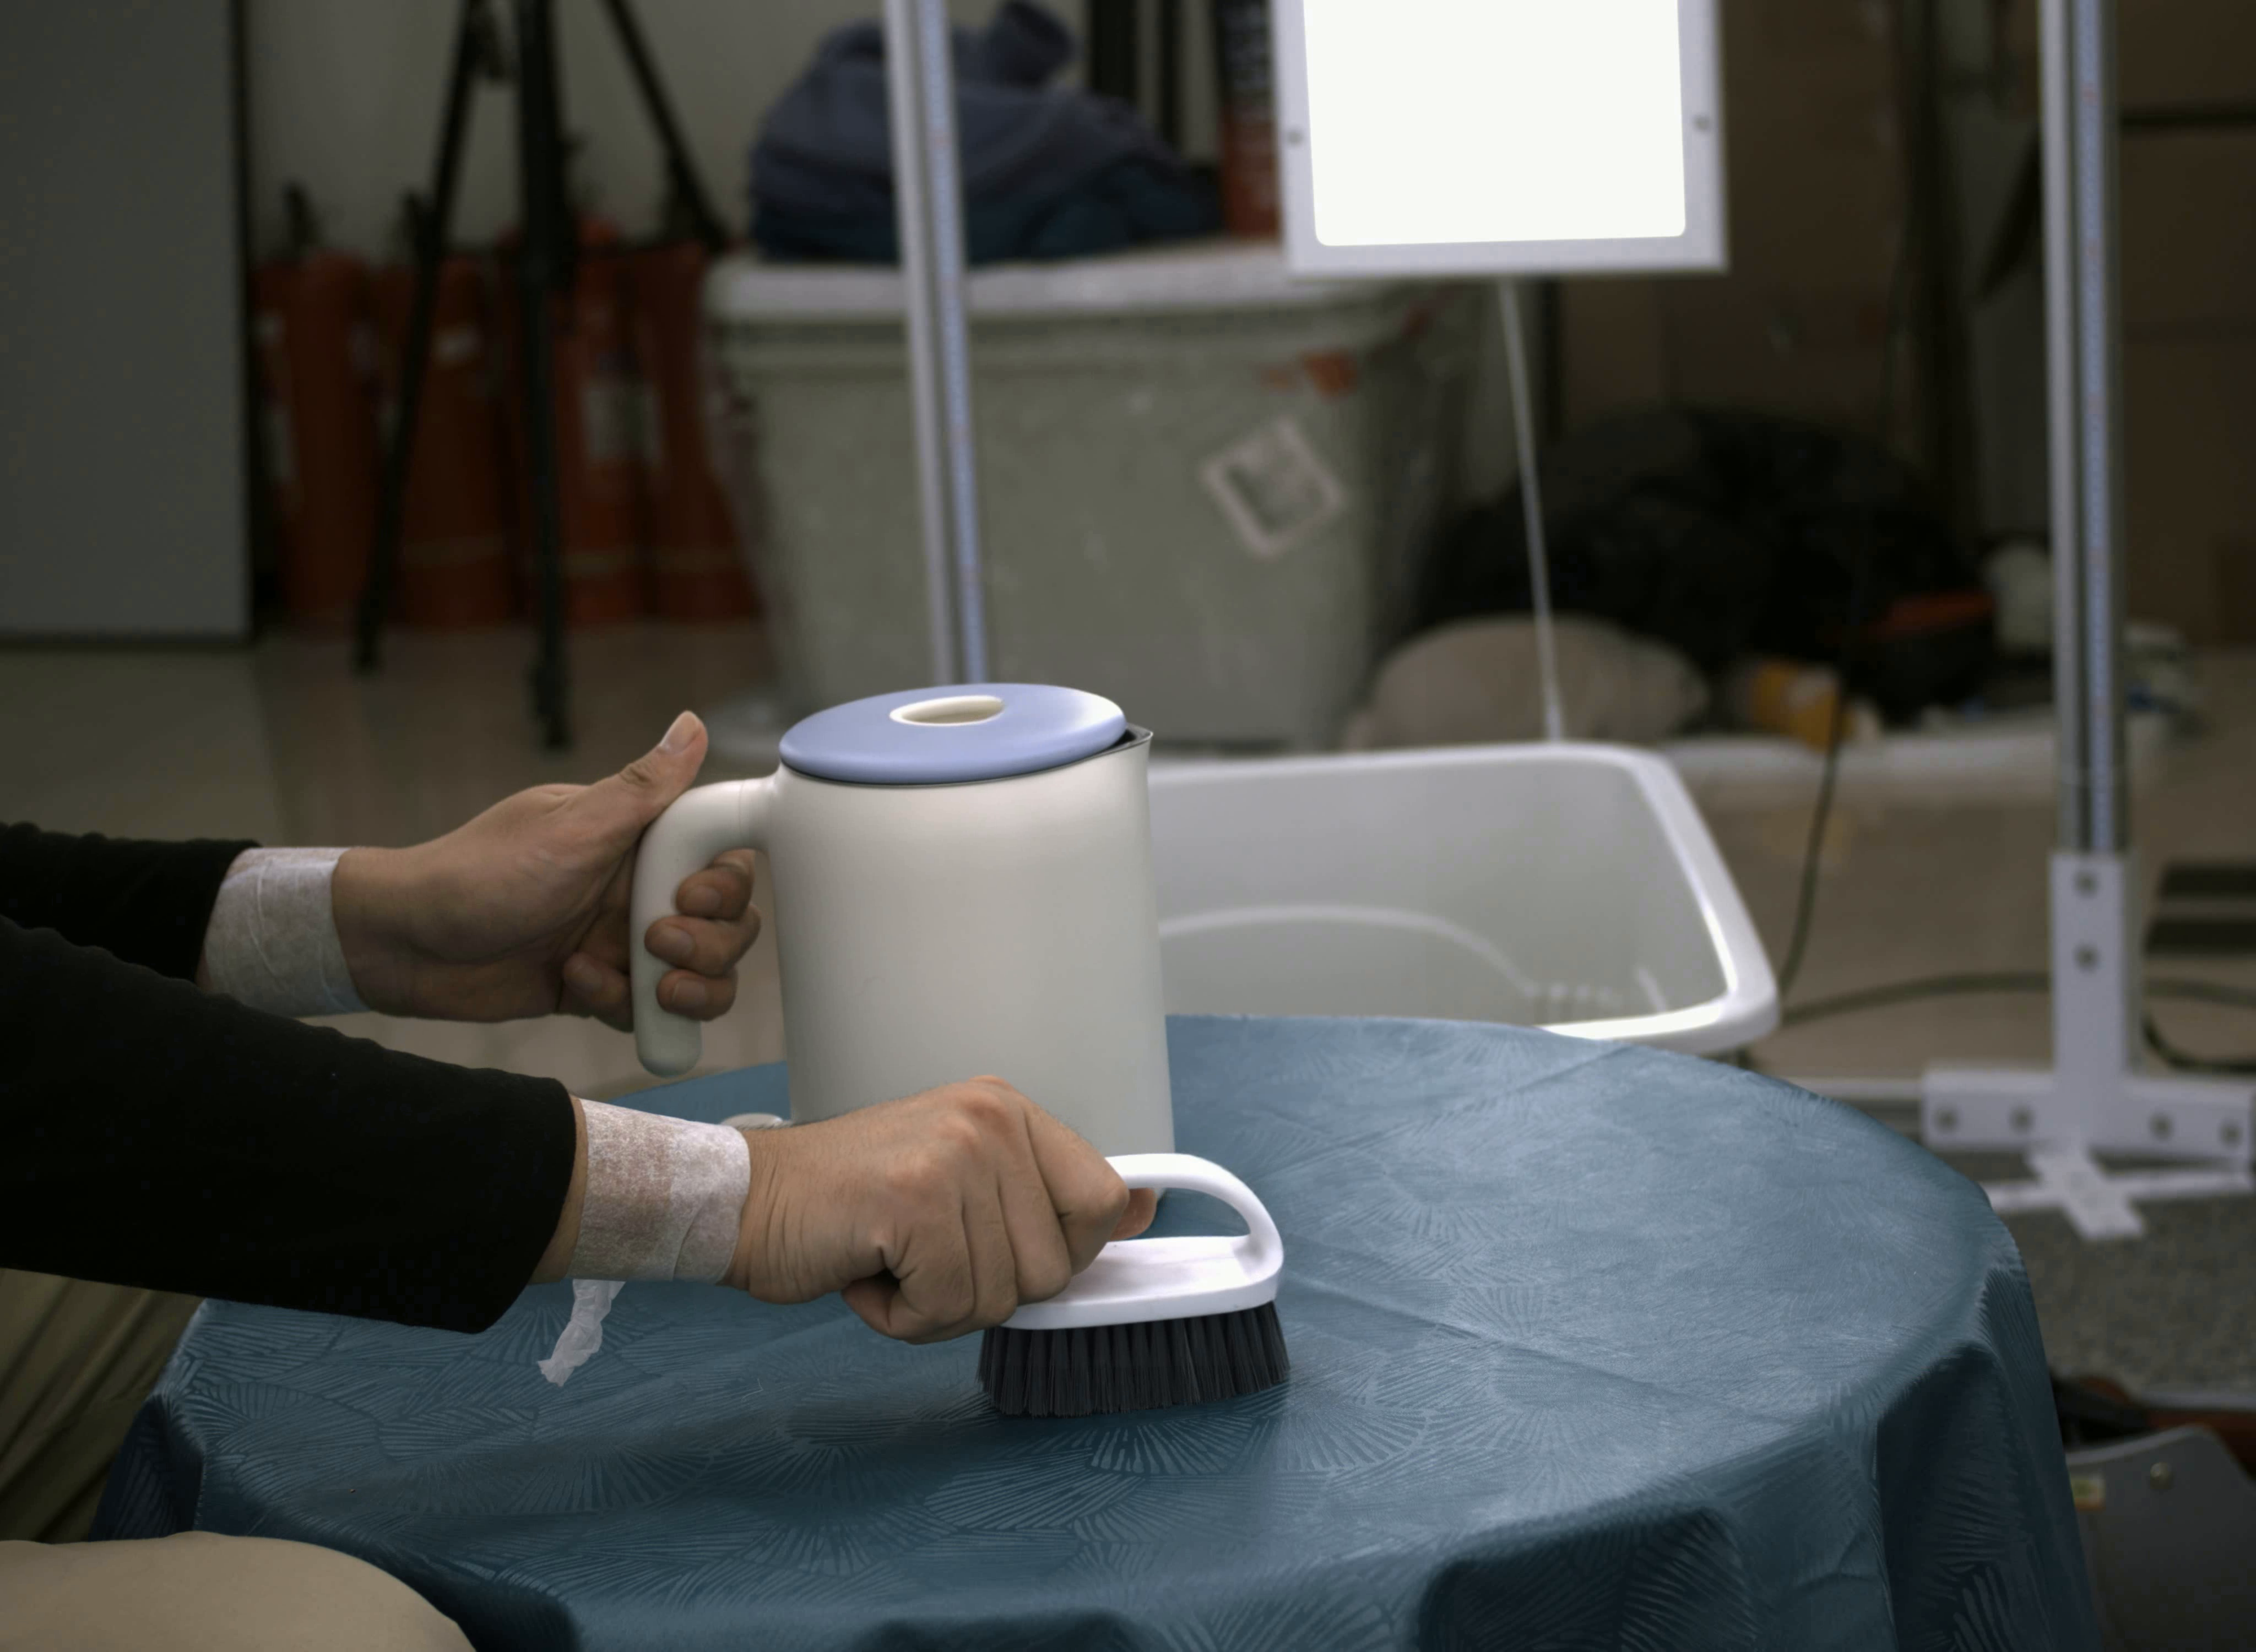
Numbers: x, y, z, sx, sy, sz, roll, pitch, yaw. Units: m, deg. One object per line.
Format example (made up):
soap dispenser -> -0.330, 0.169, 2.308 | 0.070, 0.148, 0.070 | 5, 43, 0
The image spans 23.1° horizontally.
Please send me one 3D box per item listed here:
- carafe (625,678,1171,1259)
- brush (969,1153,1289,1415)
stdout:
carafe -> -0.079, 0.049, 1.884 | 0.192, 0.183, 0.131 | -4, 13, 11
brush -> 0.000, 0.136, 1.693 | 0.098, 0.073, 0.050 | -4, 18, -5
